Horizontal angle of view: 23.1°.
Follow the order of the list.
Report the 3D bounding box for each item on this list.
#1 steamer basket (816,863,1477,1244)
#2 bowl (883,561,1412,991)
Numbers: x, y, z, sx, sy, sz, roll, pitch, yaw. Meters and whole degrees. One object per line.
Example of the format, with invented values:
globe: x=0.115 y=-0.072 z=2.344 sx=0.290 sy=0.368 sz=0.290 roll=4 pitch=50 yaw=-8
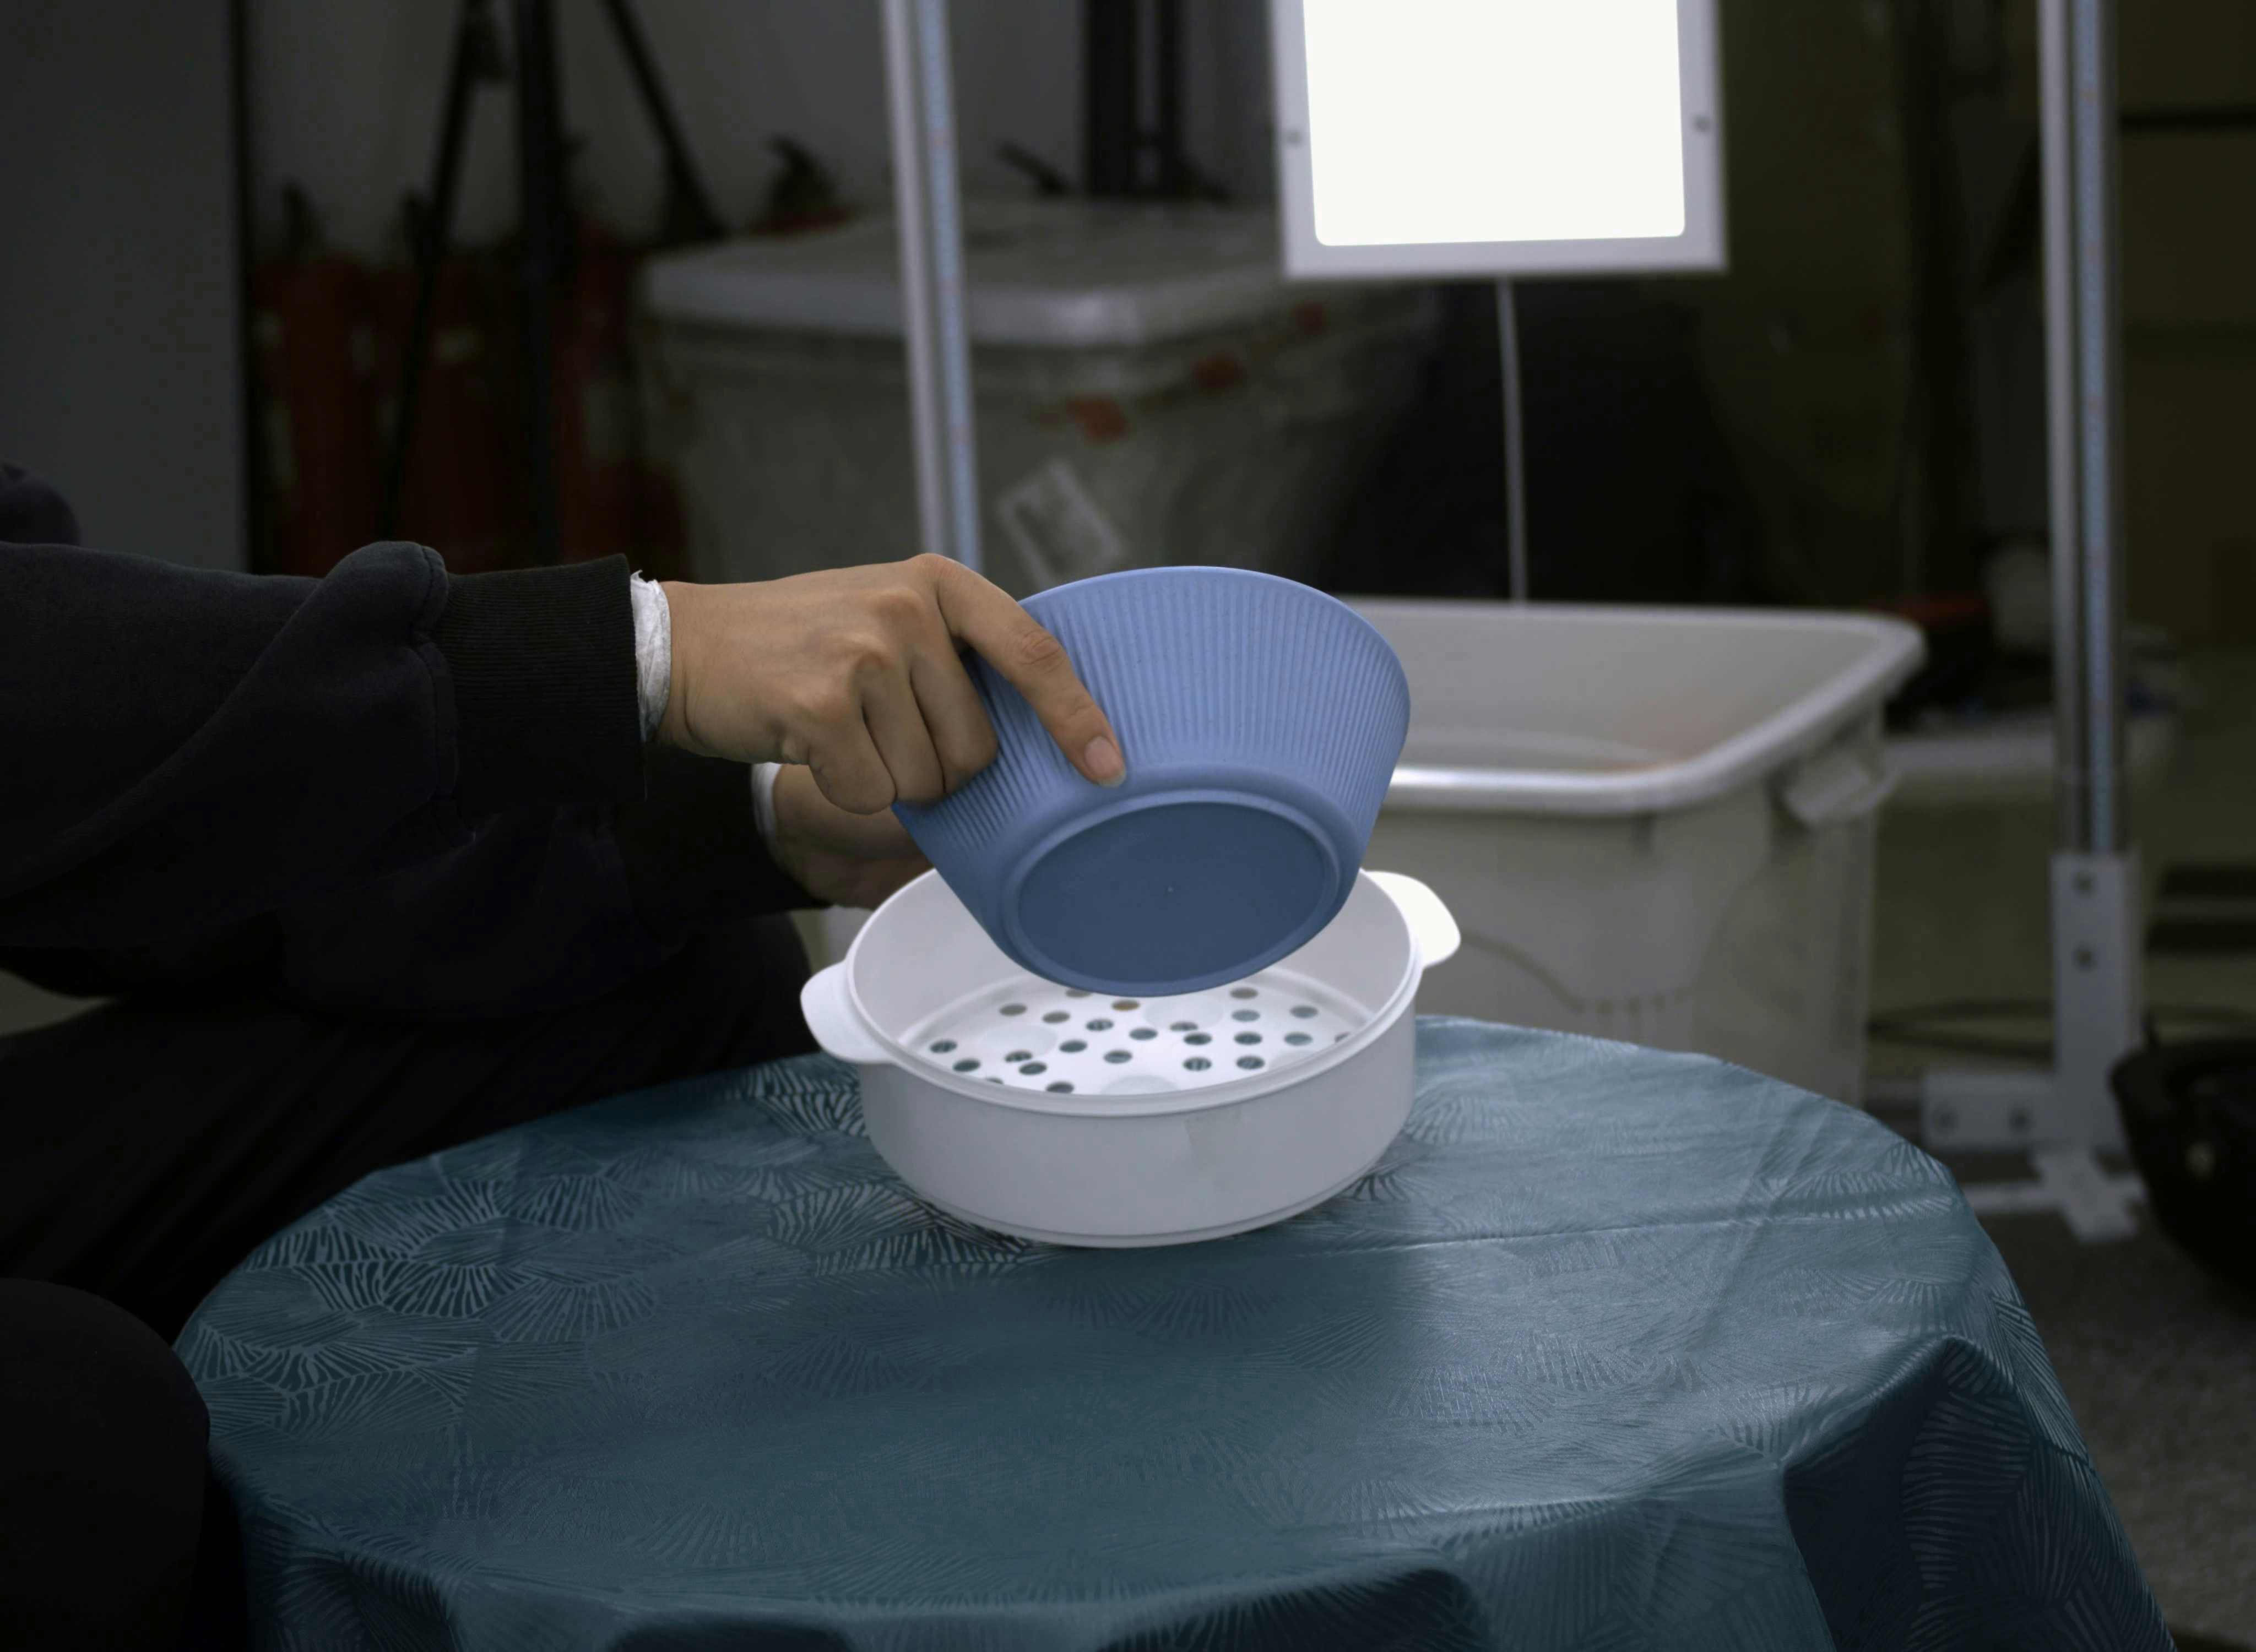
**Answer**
steamer basket: x=0.008 y=0.071 z=1.906 sx=0.228 sy=0.069 sz=0.203 roll=-8 pitch=28 yaw=-12
bowl: x=0.011 y=-0.006 z=1.776 sx=0.175 sy=0.177 sz=0.070 roll=-5 pitch=54 yaw=-5
